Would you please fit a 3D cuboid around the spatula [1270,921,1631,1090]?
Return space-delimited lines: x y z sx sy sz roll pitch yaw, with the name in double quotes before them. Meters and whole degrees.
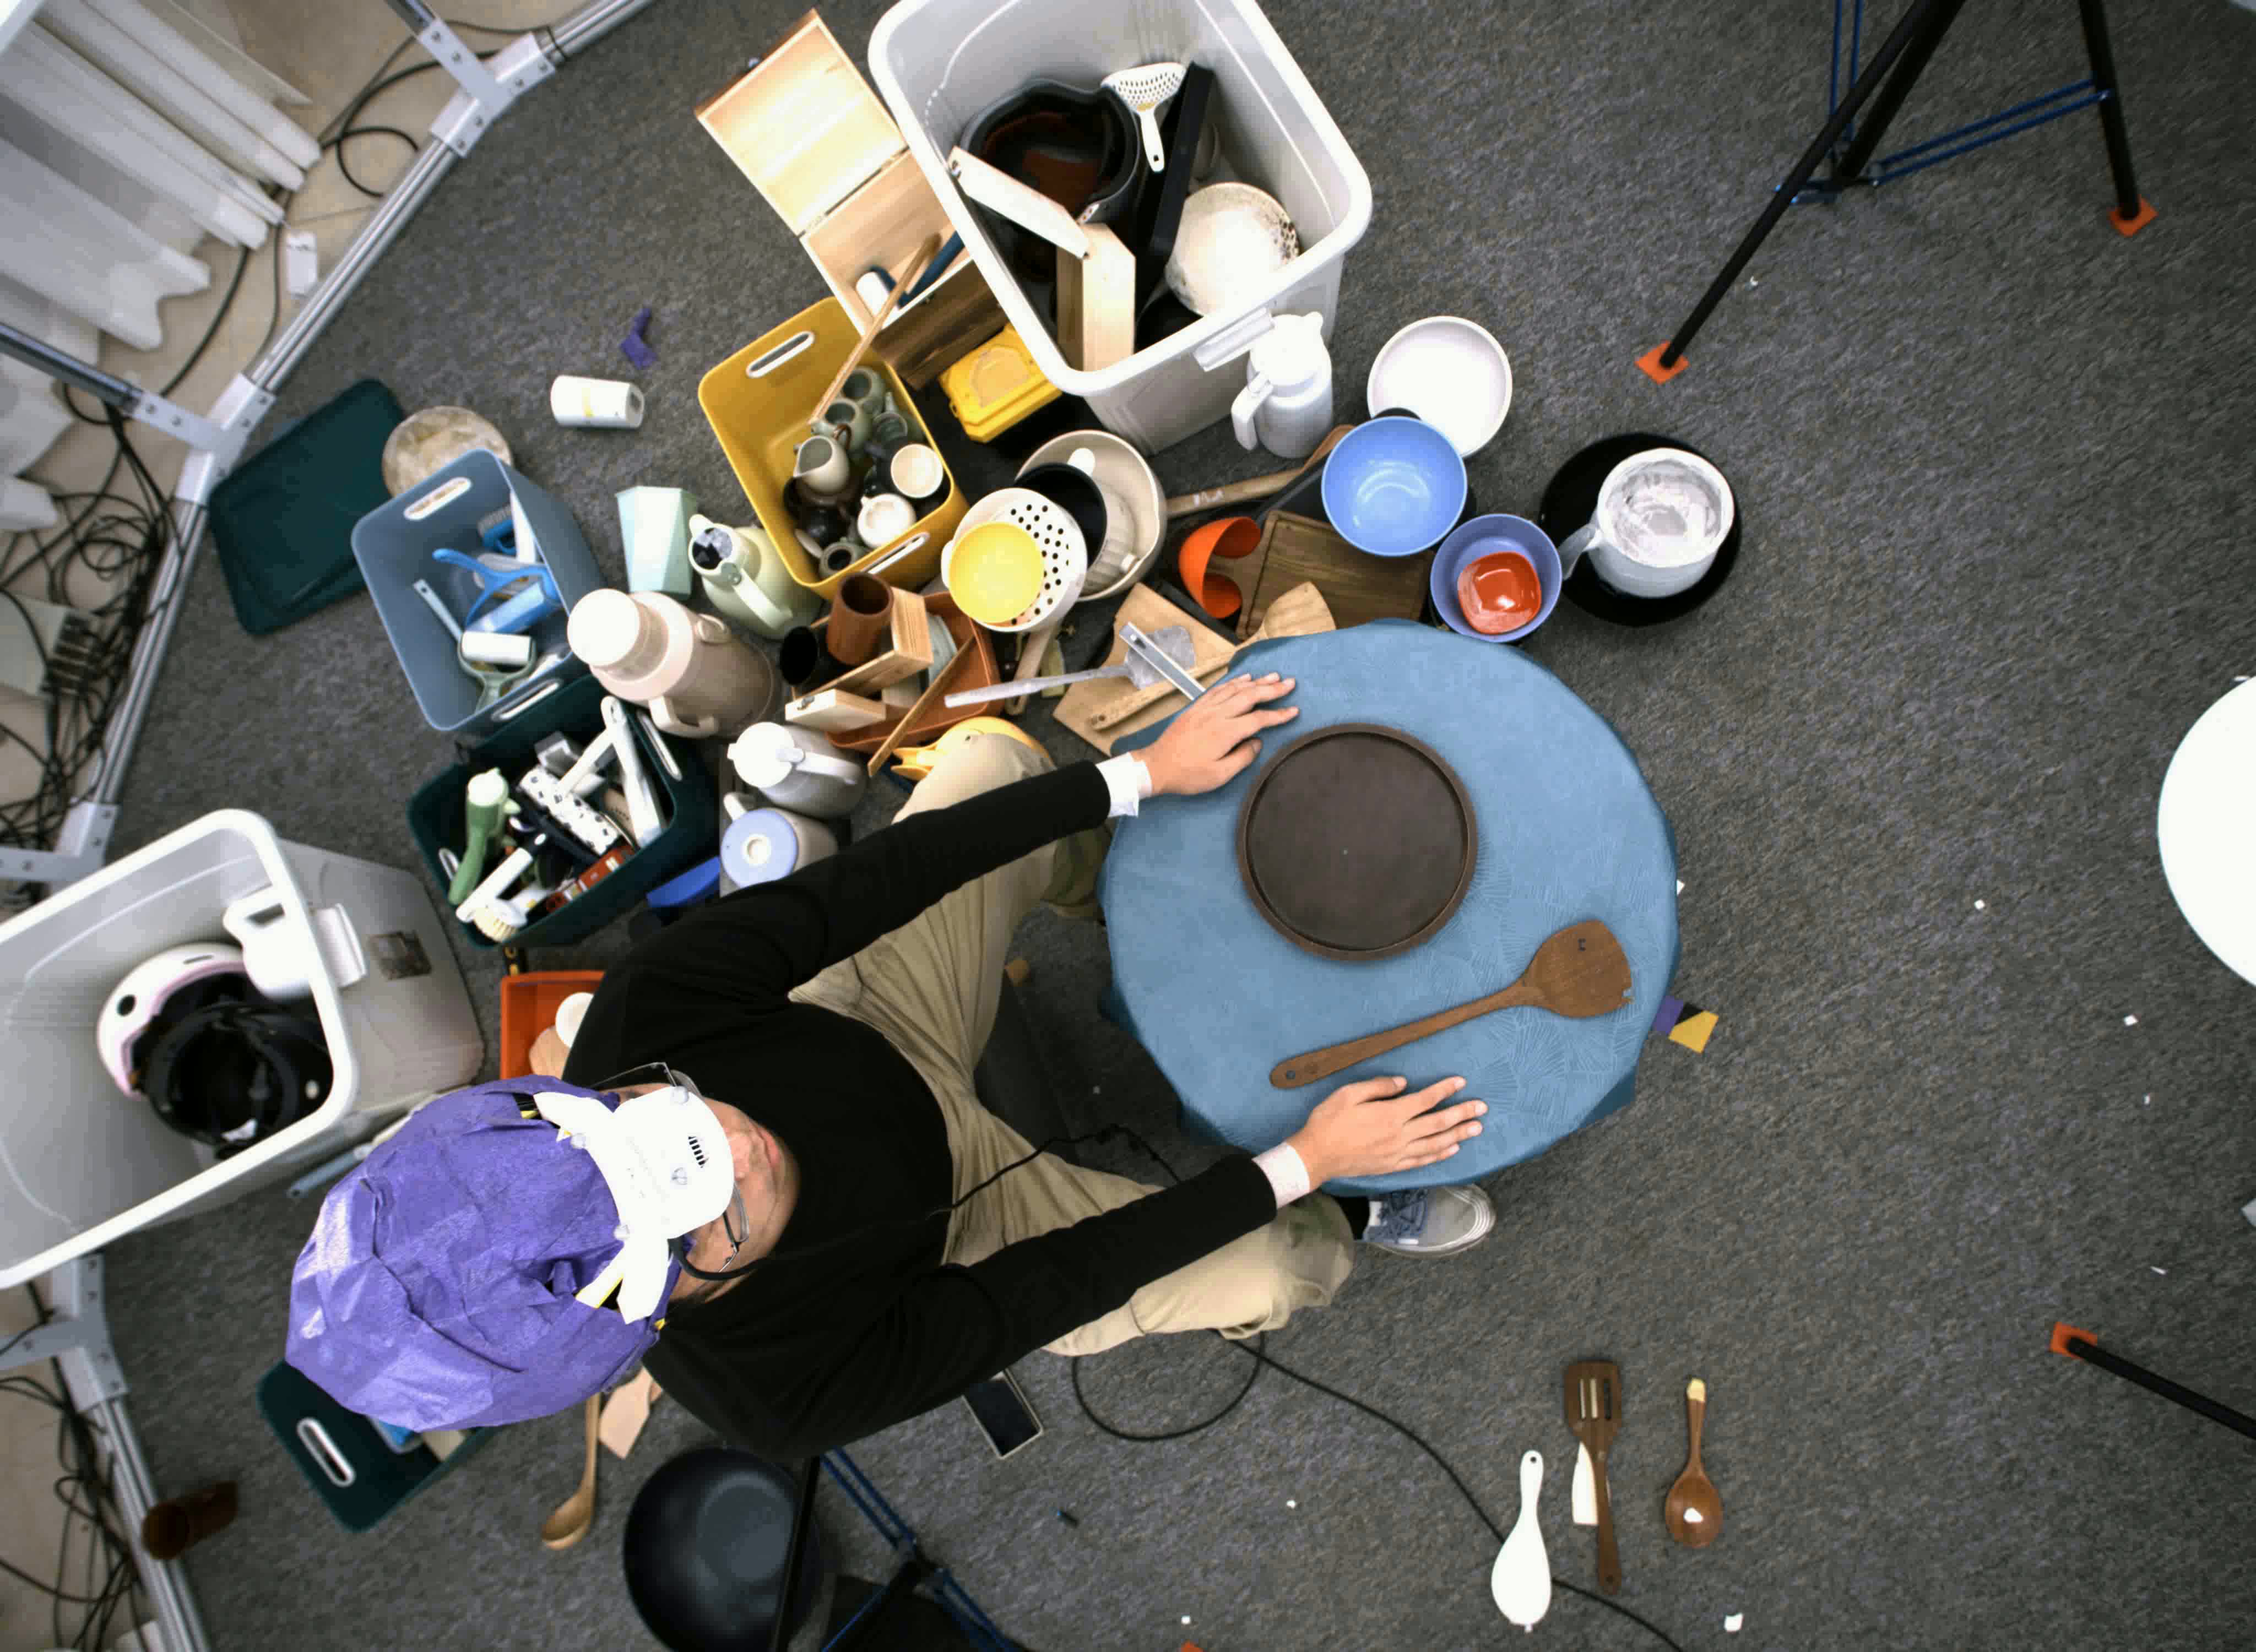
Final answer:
"spatula" 0.329 0.200 1.435 0.388 0.016 0.095 -21 83 9

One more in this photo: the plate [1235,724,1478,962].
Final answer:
"plate" 0.240 0.016 1.458 0.256 0.029 0.254 -1 87 9
